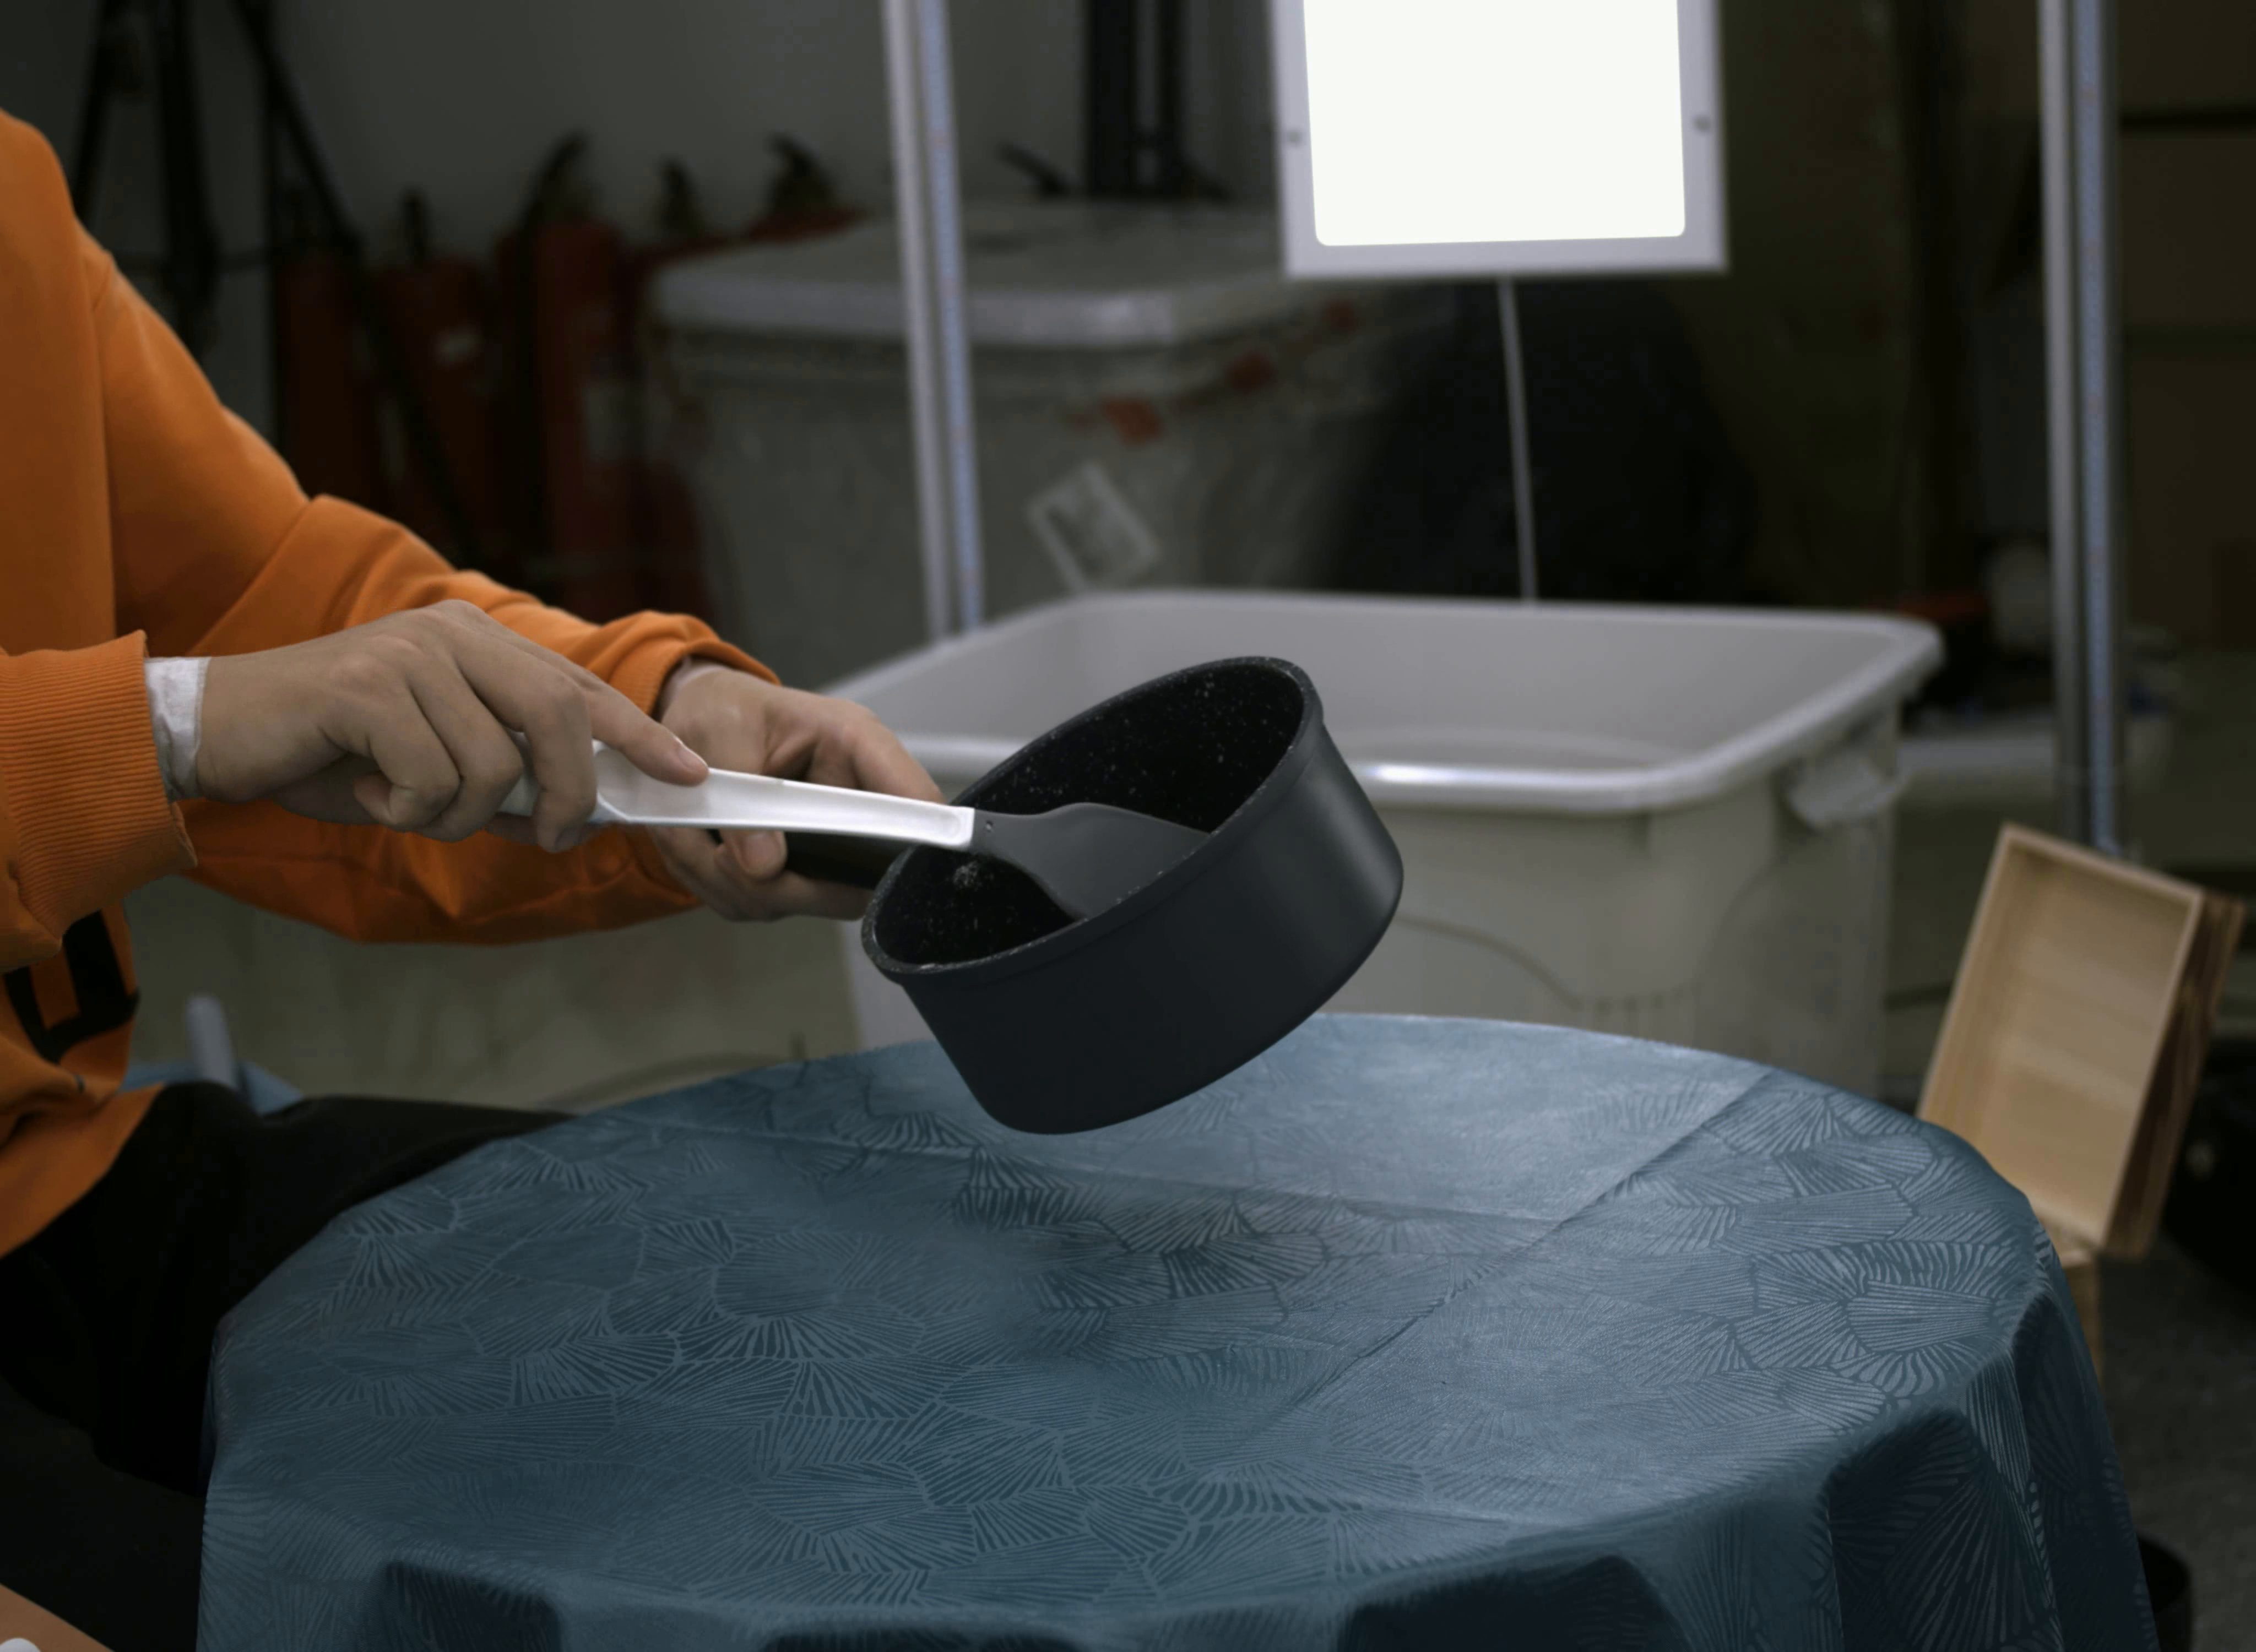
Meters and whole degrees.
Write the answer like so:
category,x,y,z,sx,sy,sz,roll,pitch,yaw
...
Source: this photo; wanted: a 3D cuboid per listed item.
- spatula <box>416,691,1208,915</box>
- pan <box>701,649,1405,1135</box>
category,x,y,z,sx,sy,sz,roll,pitch,yaw
spatula,-0.087,-0.002,1.790,0.285,0.032,0.058,10,53,-8
pan,-0.042,0.019,1.877,0.169,0.086,0.335,-41,24,-25
